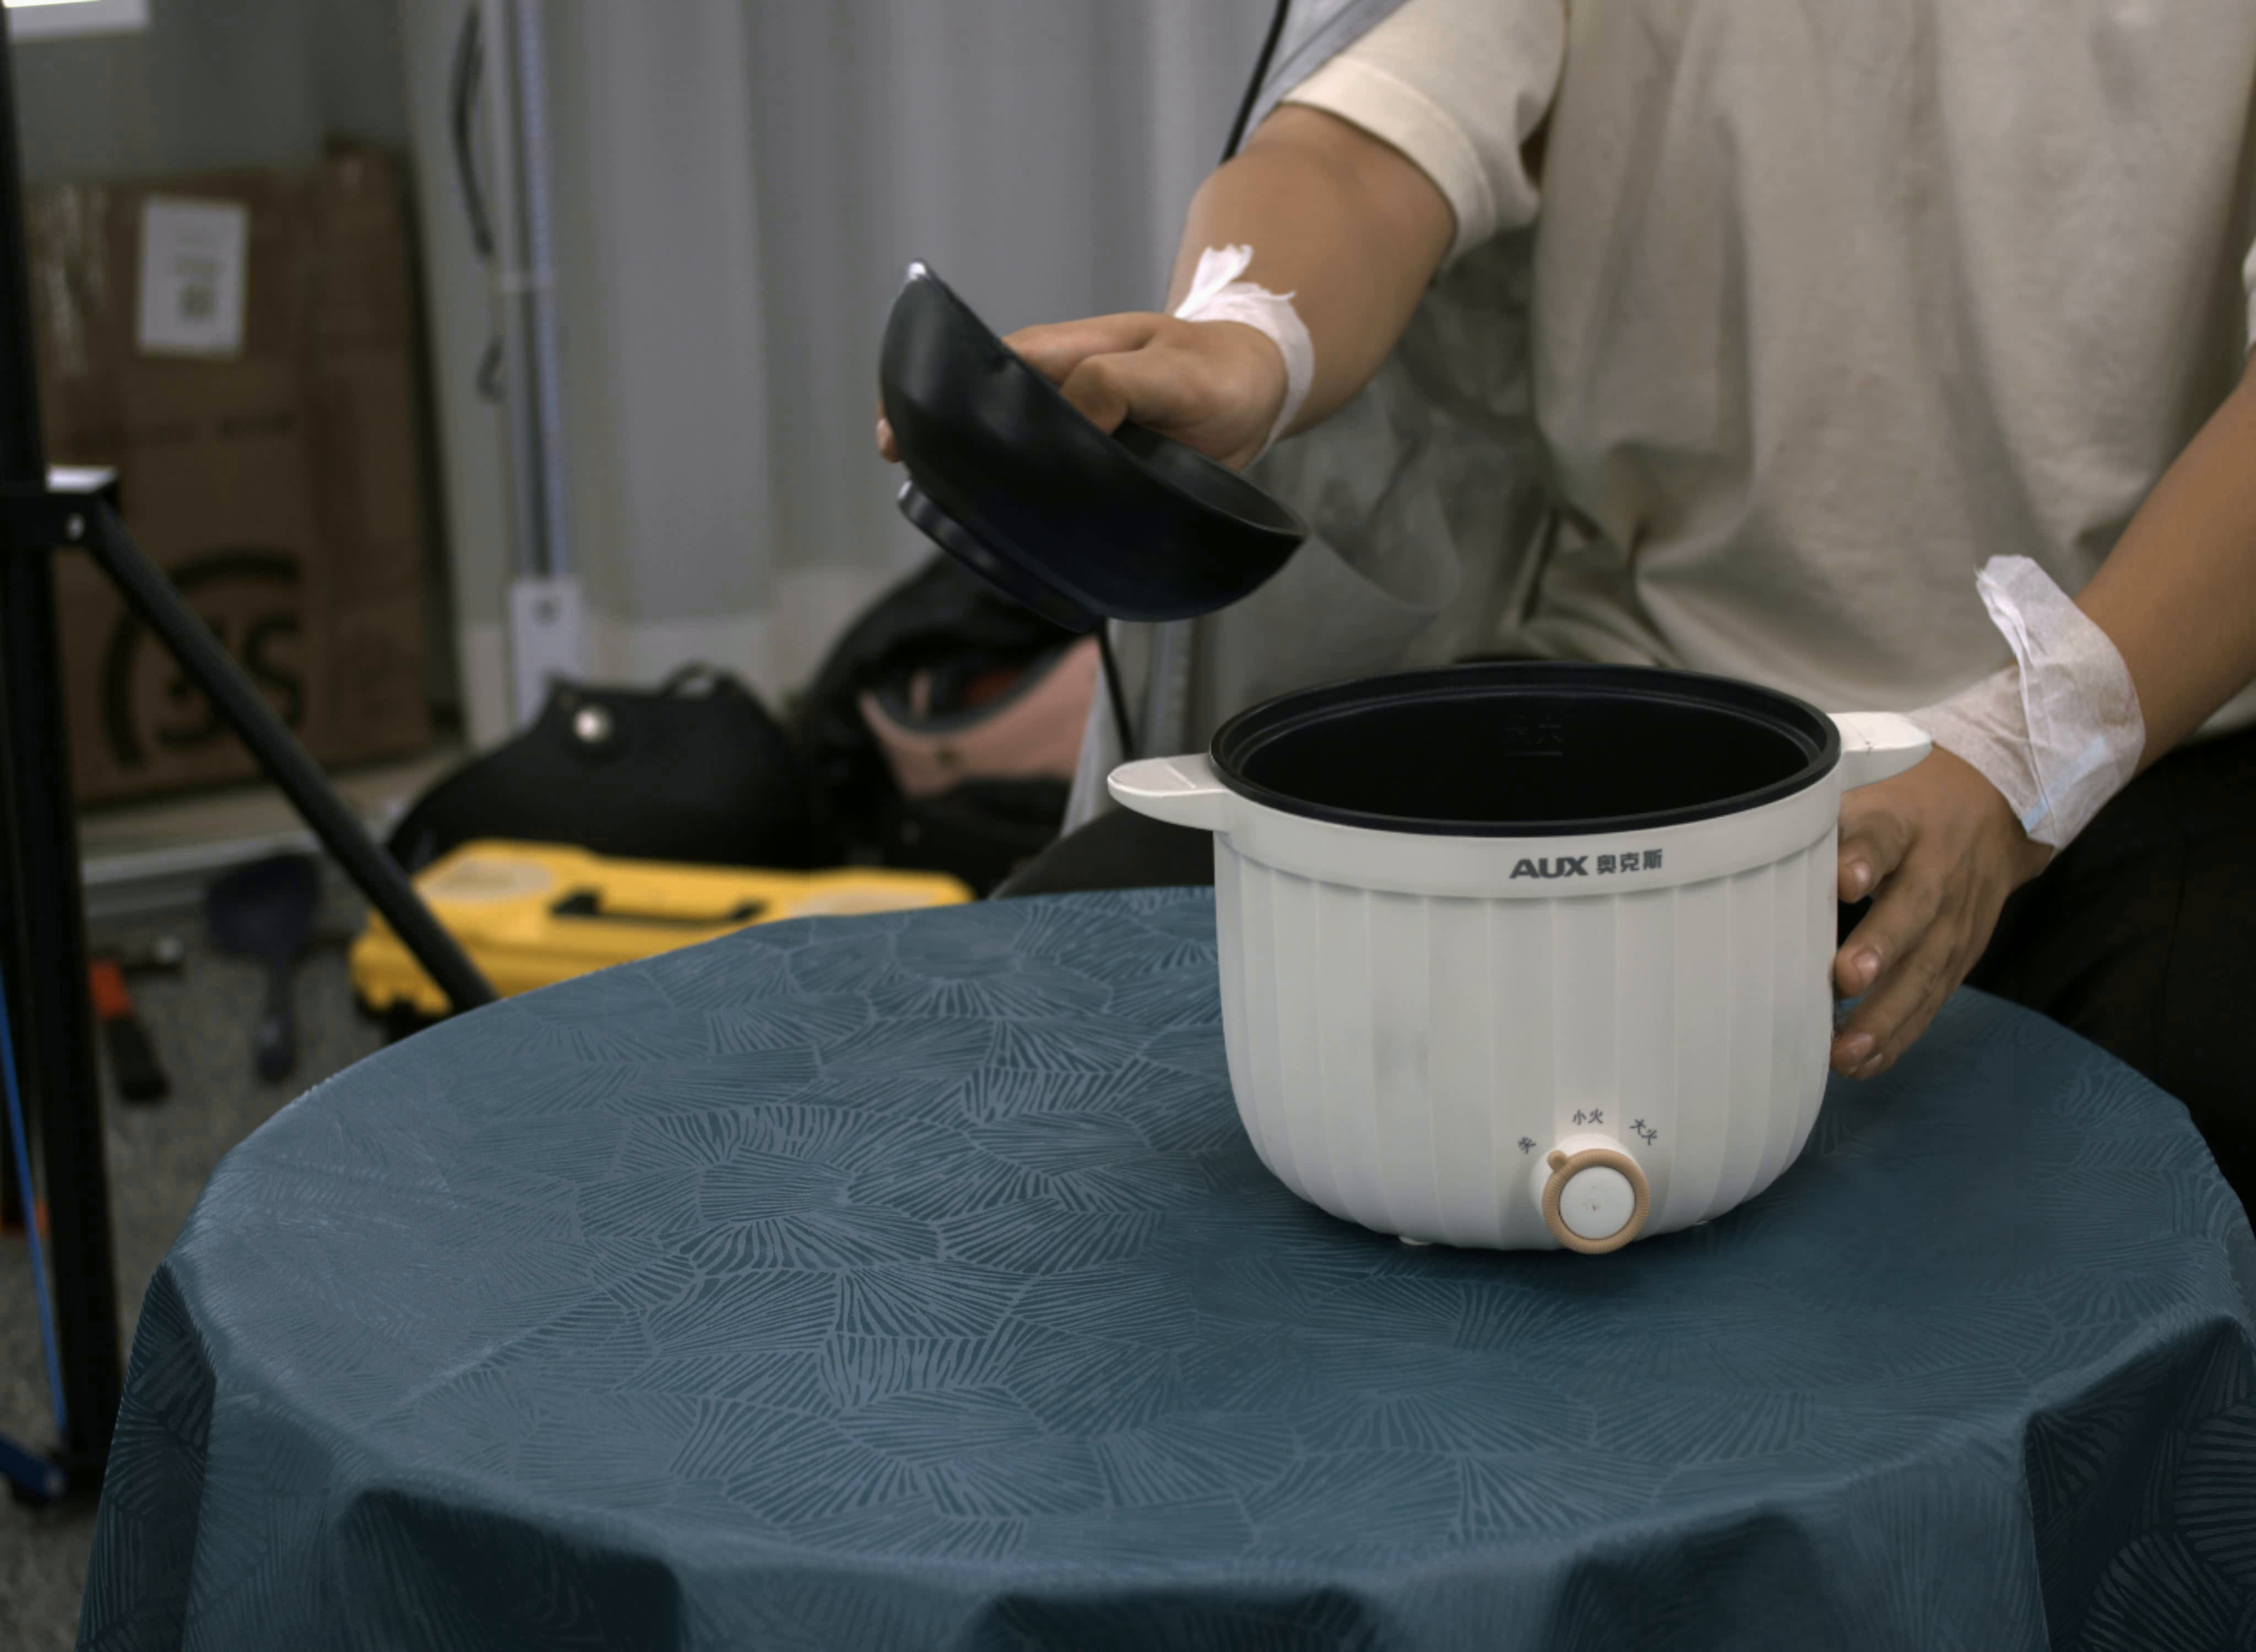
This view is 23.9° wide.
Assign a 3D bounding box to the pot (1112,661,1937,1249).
[{"bbox_3d":[0.118,0.040,1.524,0.238,0.143,0.192,-5,12,-5],"label":"pot"}]

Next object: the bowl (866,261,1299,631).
[{"bbox_3d":[-0.026,-0.102,1.552,0.135,0.067,0.172,32,6,-18],"label":"bowl"}]
